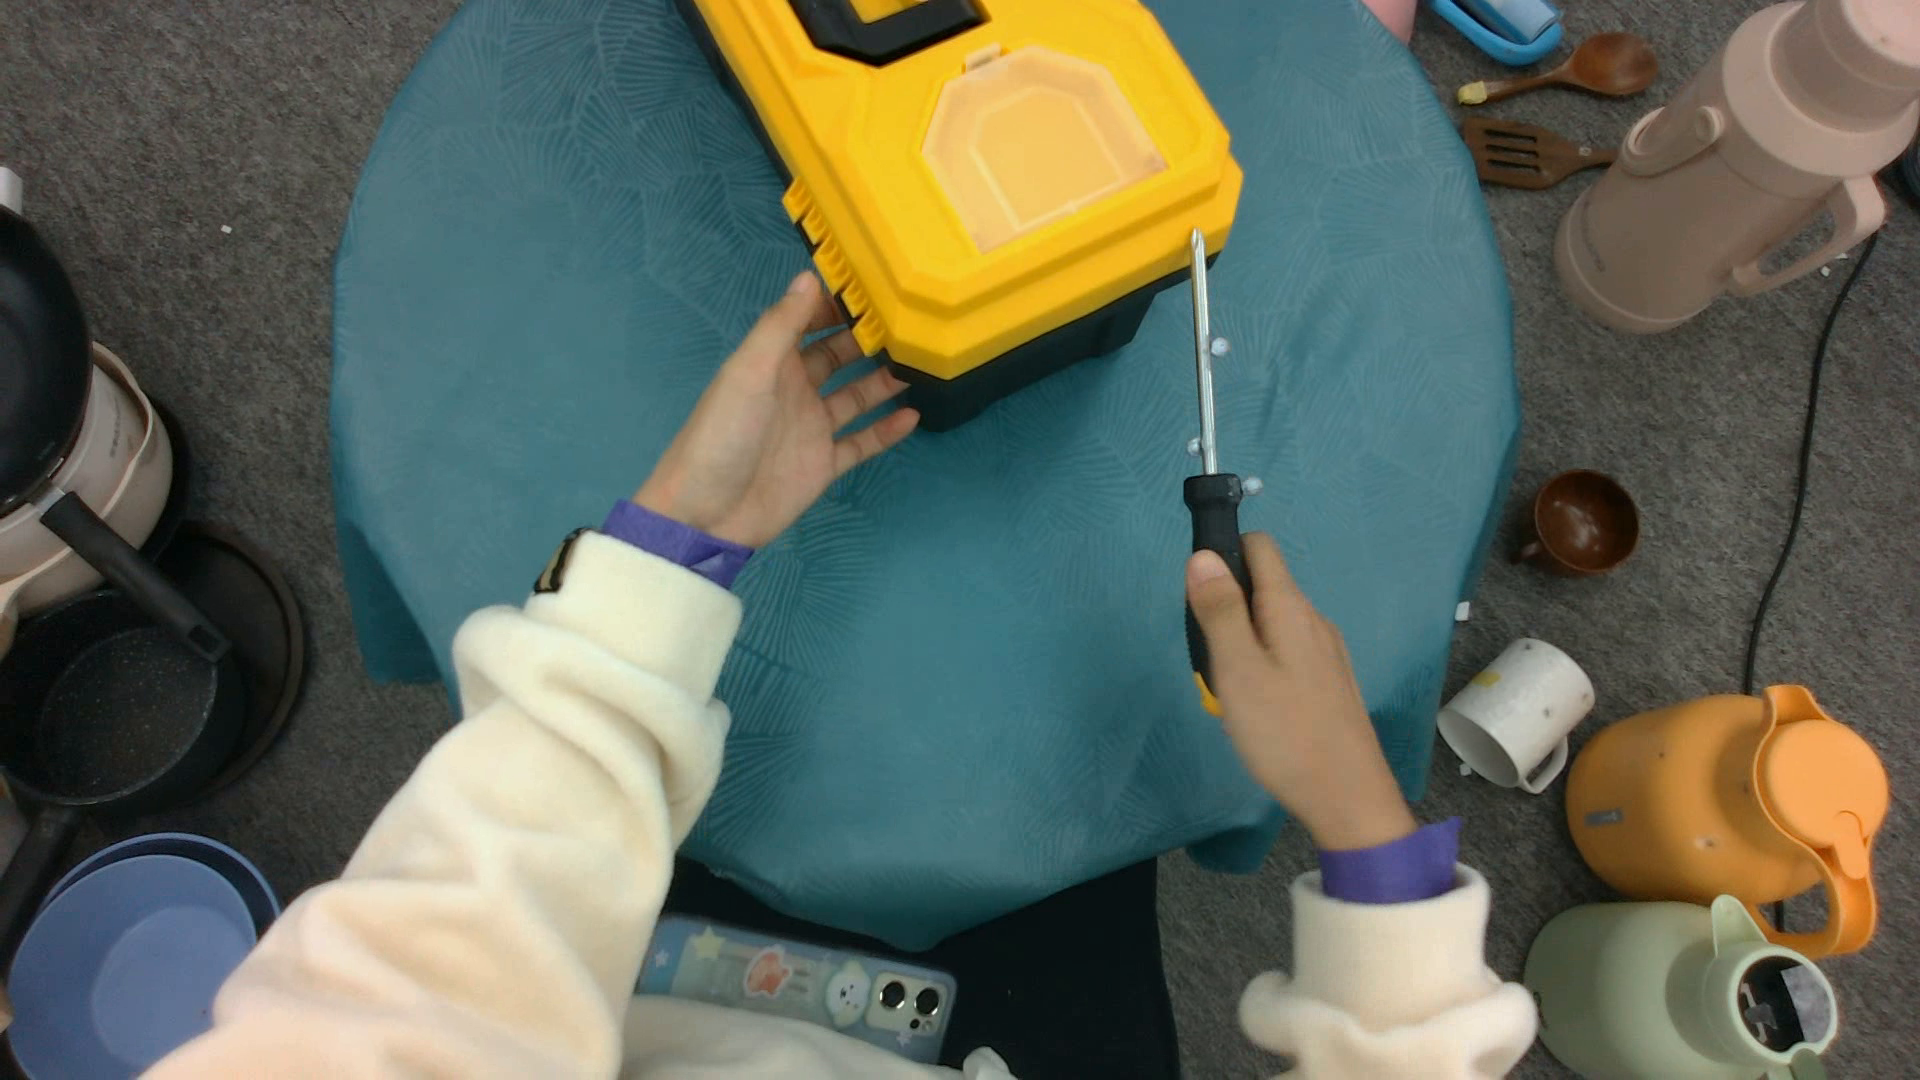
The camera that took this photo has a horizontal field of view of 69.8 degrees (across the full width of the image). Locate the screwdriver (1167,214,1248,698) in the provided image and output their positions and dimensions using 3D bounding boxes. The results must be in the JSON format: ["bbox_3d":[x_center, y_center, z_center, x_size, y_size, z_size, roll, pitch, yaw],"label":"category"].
[{"bbox_3d":[0.099,-0.034,0.559,0.031,0.031,0.196,-2,88,-5],"label":"screwdriver"}]

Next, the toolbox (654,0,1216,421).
[{"bbox_3d":[-0.042,-0.239,0.644,0.181,0.172,0.352,-27,78,-11],"label":"toolbox"}]
